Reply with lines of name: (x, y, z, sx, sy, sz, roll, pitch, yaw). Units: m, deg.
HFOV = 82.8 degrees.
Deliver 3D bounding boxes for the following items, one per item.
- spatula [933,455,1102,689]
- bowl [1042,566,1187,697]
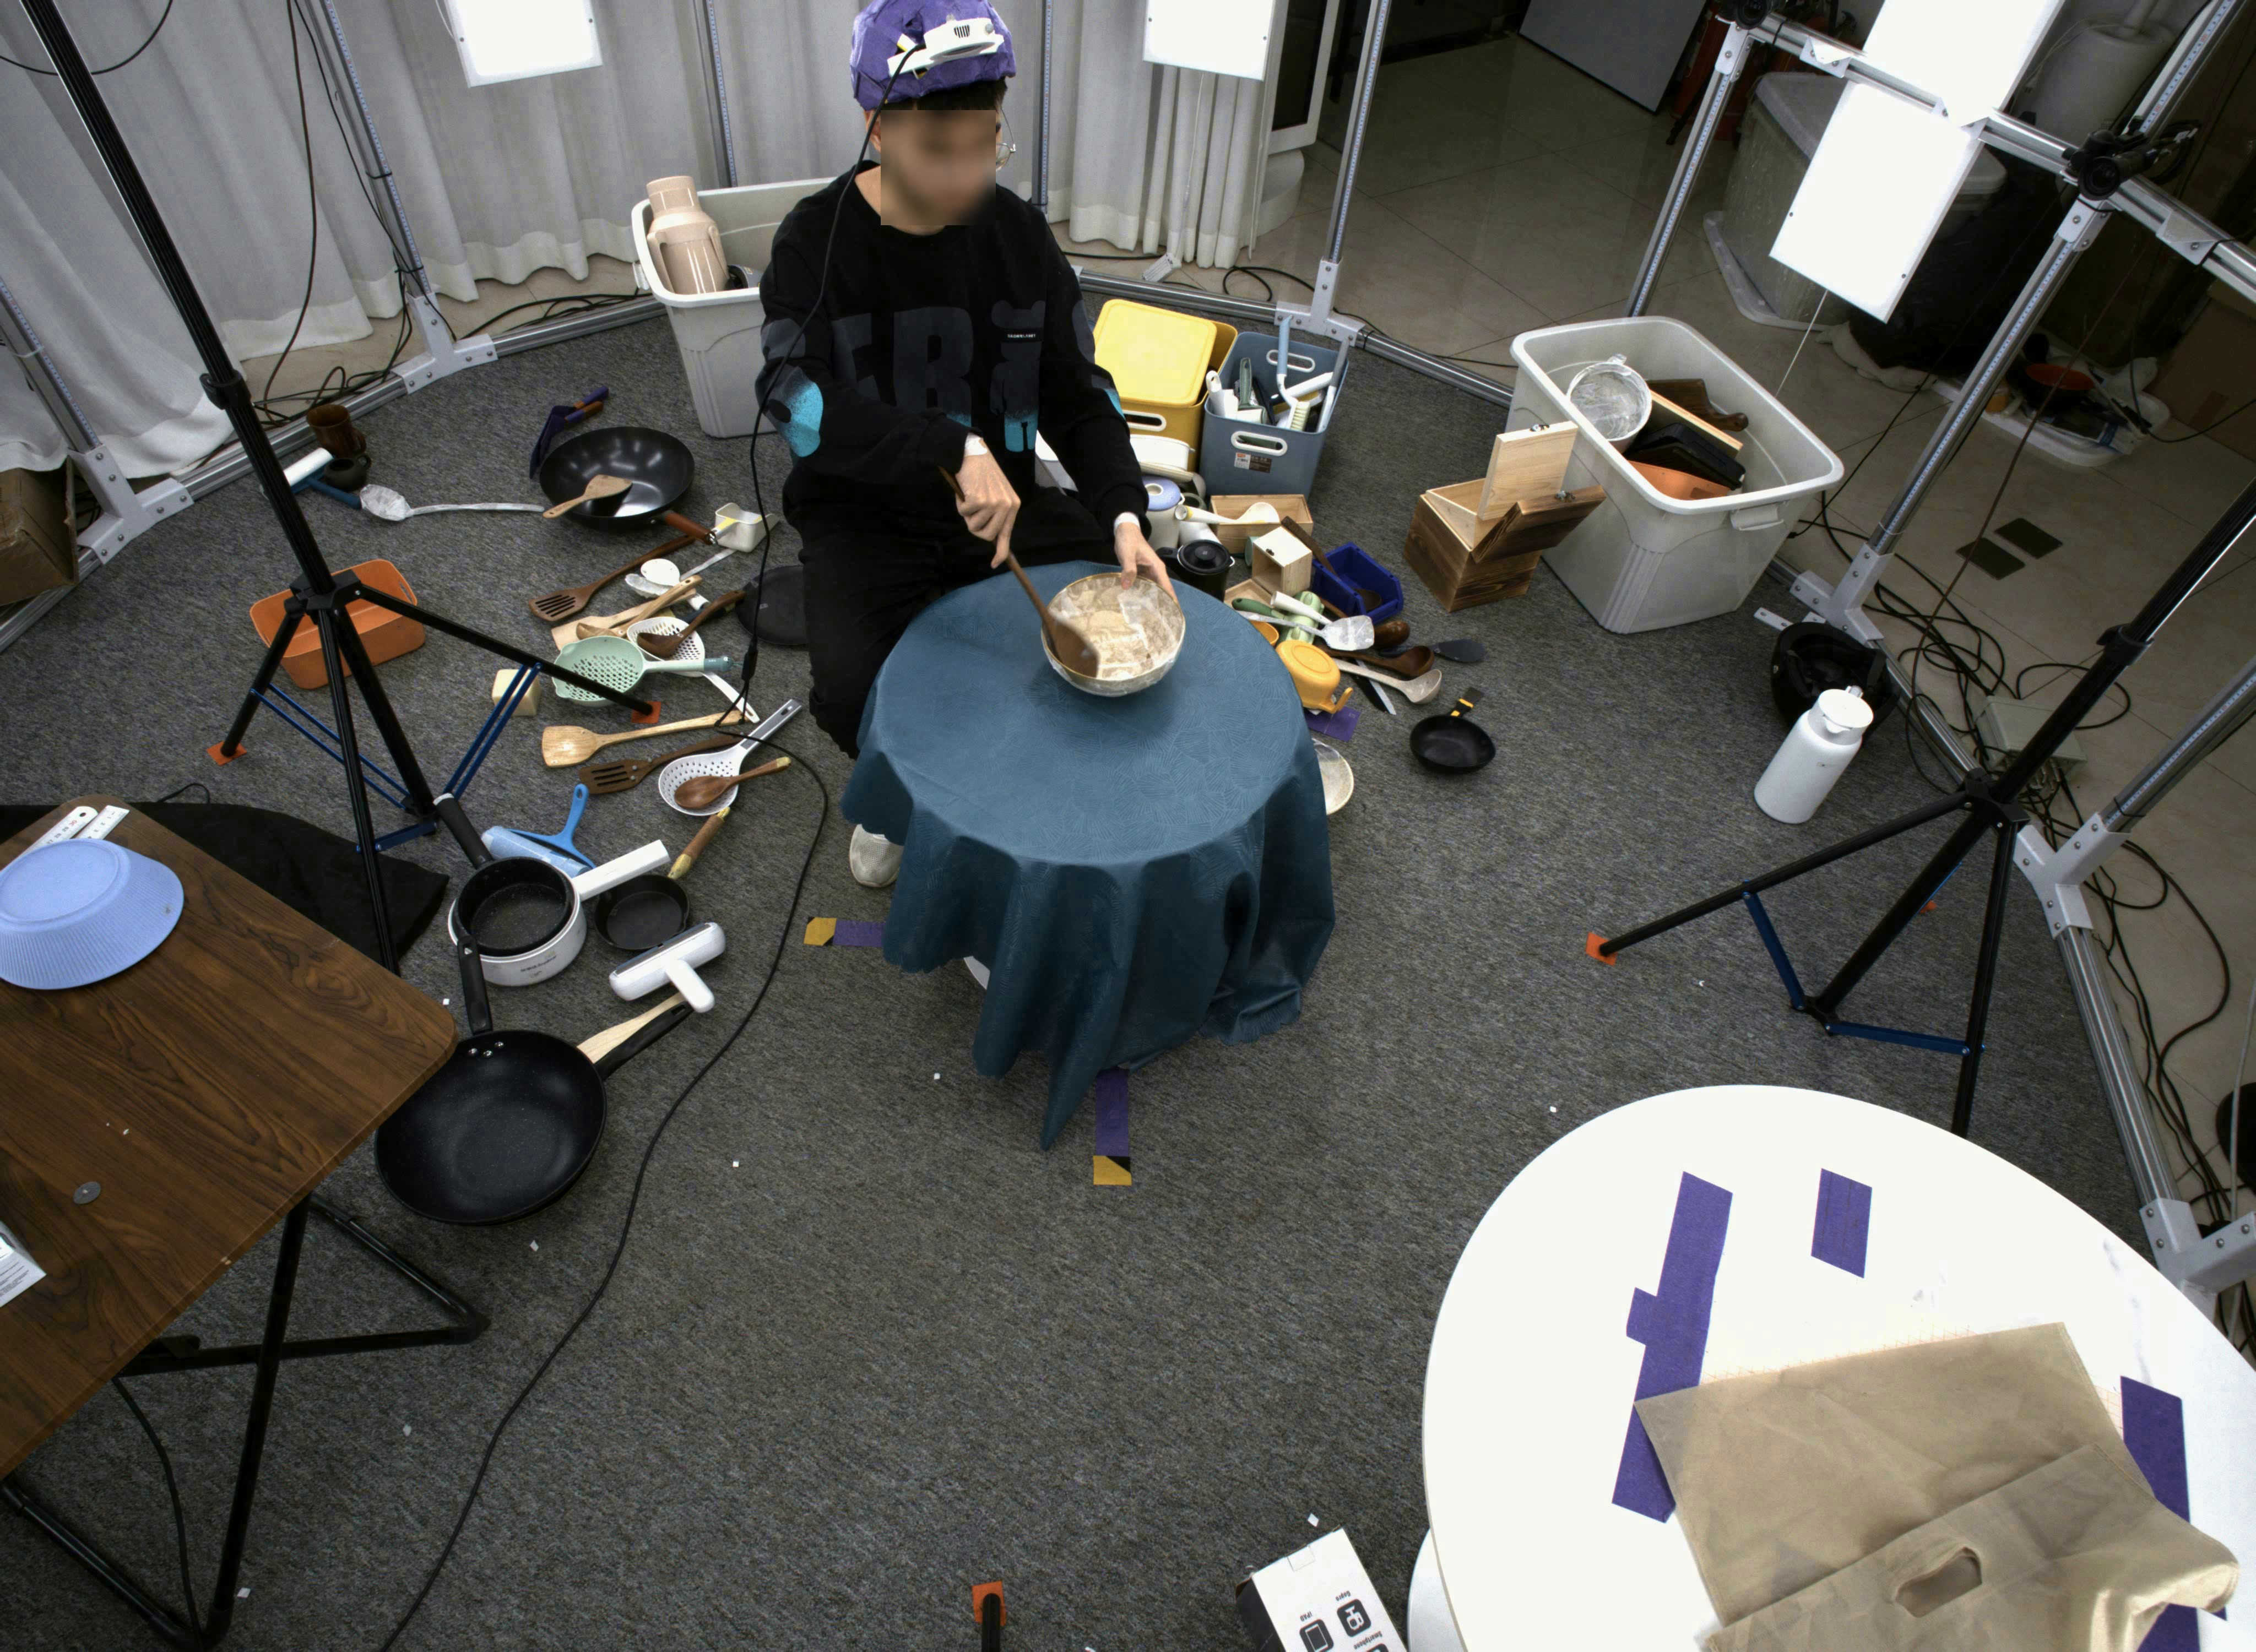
spatula: (-0.148, -0.351, 1.782, 0.016, 0.379, 0.098, -19, 31, 31)
bowl: (-0.019, -0.266, 1.841, 0.214, 0.092, 0.219, 0, 62, 0)
